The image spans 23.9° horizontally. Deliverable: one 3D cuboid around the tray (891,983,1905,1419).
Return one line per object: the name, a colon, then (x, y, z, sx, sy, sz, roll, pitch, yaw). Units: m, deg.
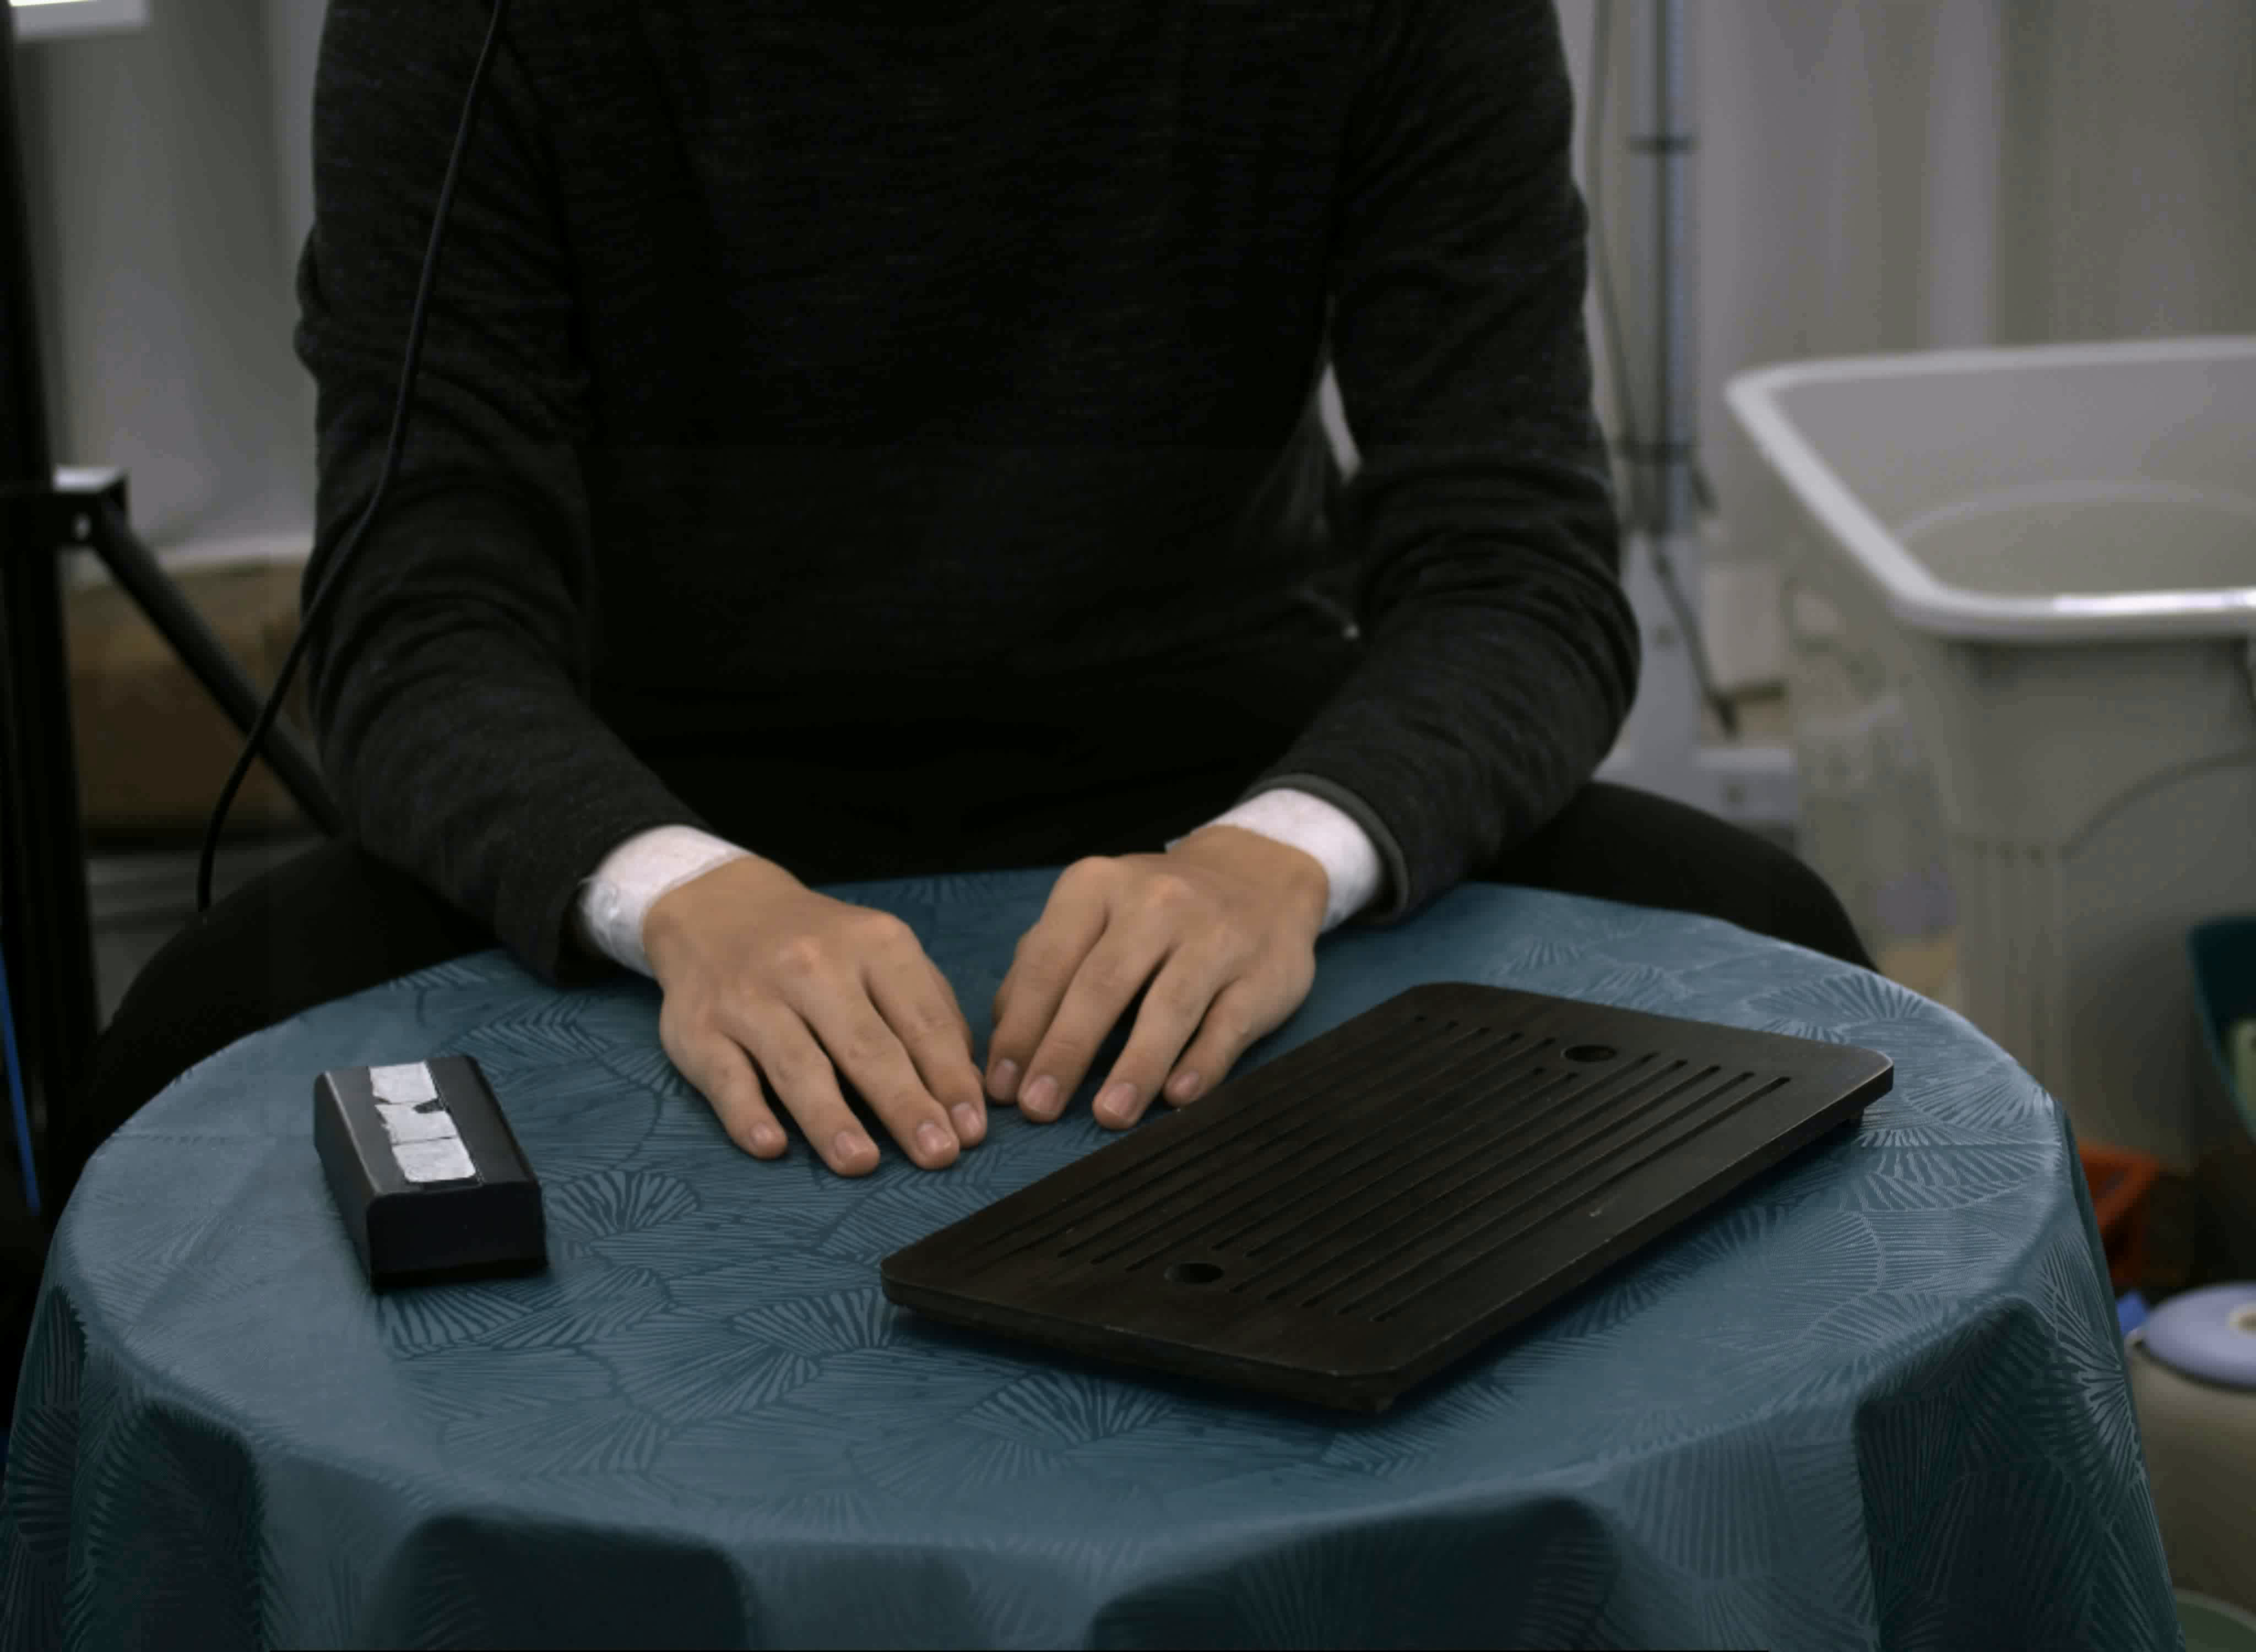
tray: (0.084, 0.104, 1.524, 0.173, 0.018, 0.300, 8, 19, 35)

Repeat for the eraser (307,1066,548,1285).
eraser: (-0.206, 0.102, 1.563, 0.052, 0.030, 0.127, -4, 14, -15)
